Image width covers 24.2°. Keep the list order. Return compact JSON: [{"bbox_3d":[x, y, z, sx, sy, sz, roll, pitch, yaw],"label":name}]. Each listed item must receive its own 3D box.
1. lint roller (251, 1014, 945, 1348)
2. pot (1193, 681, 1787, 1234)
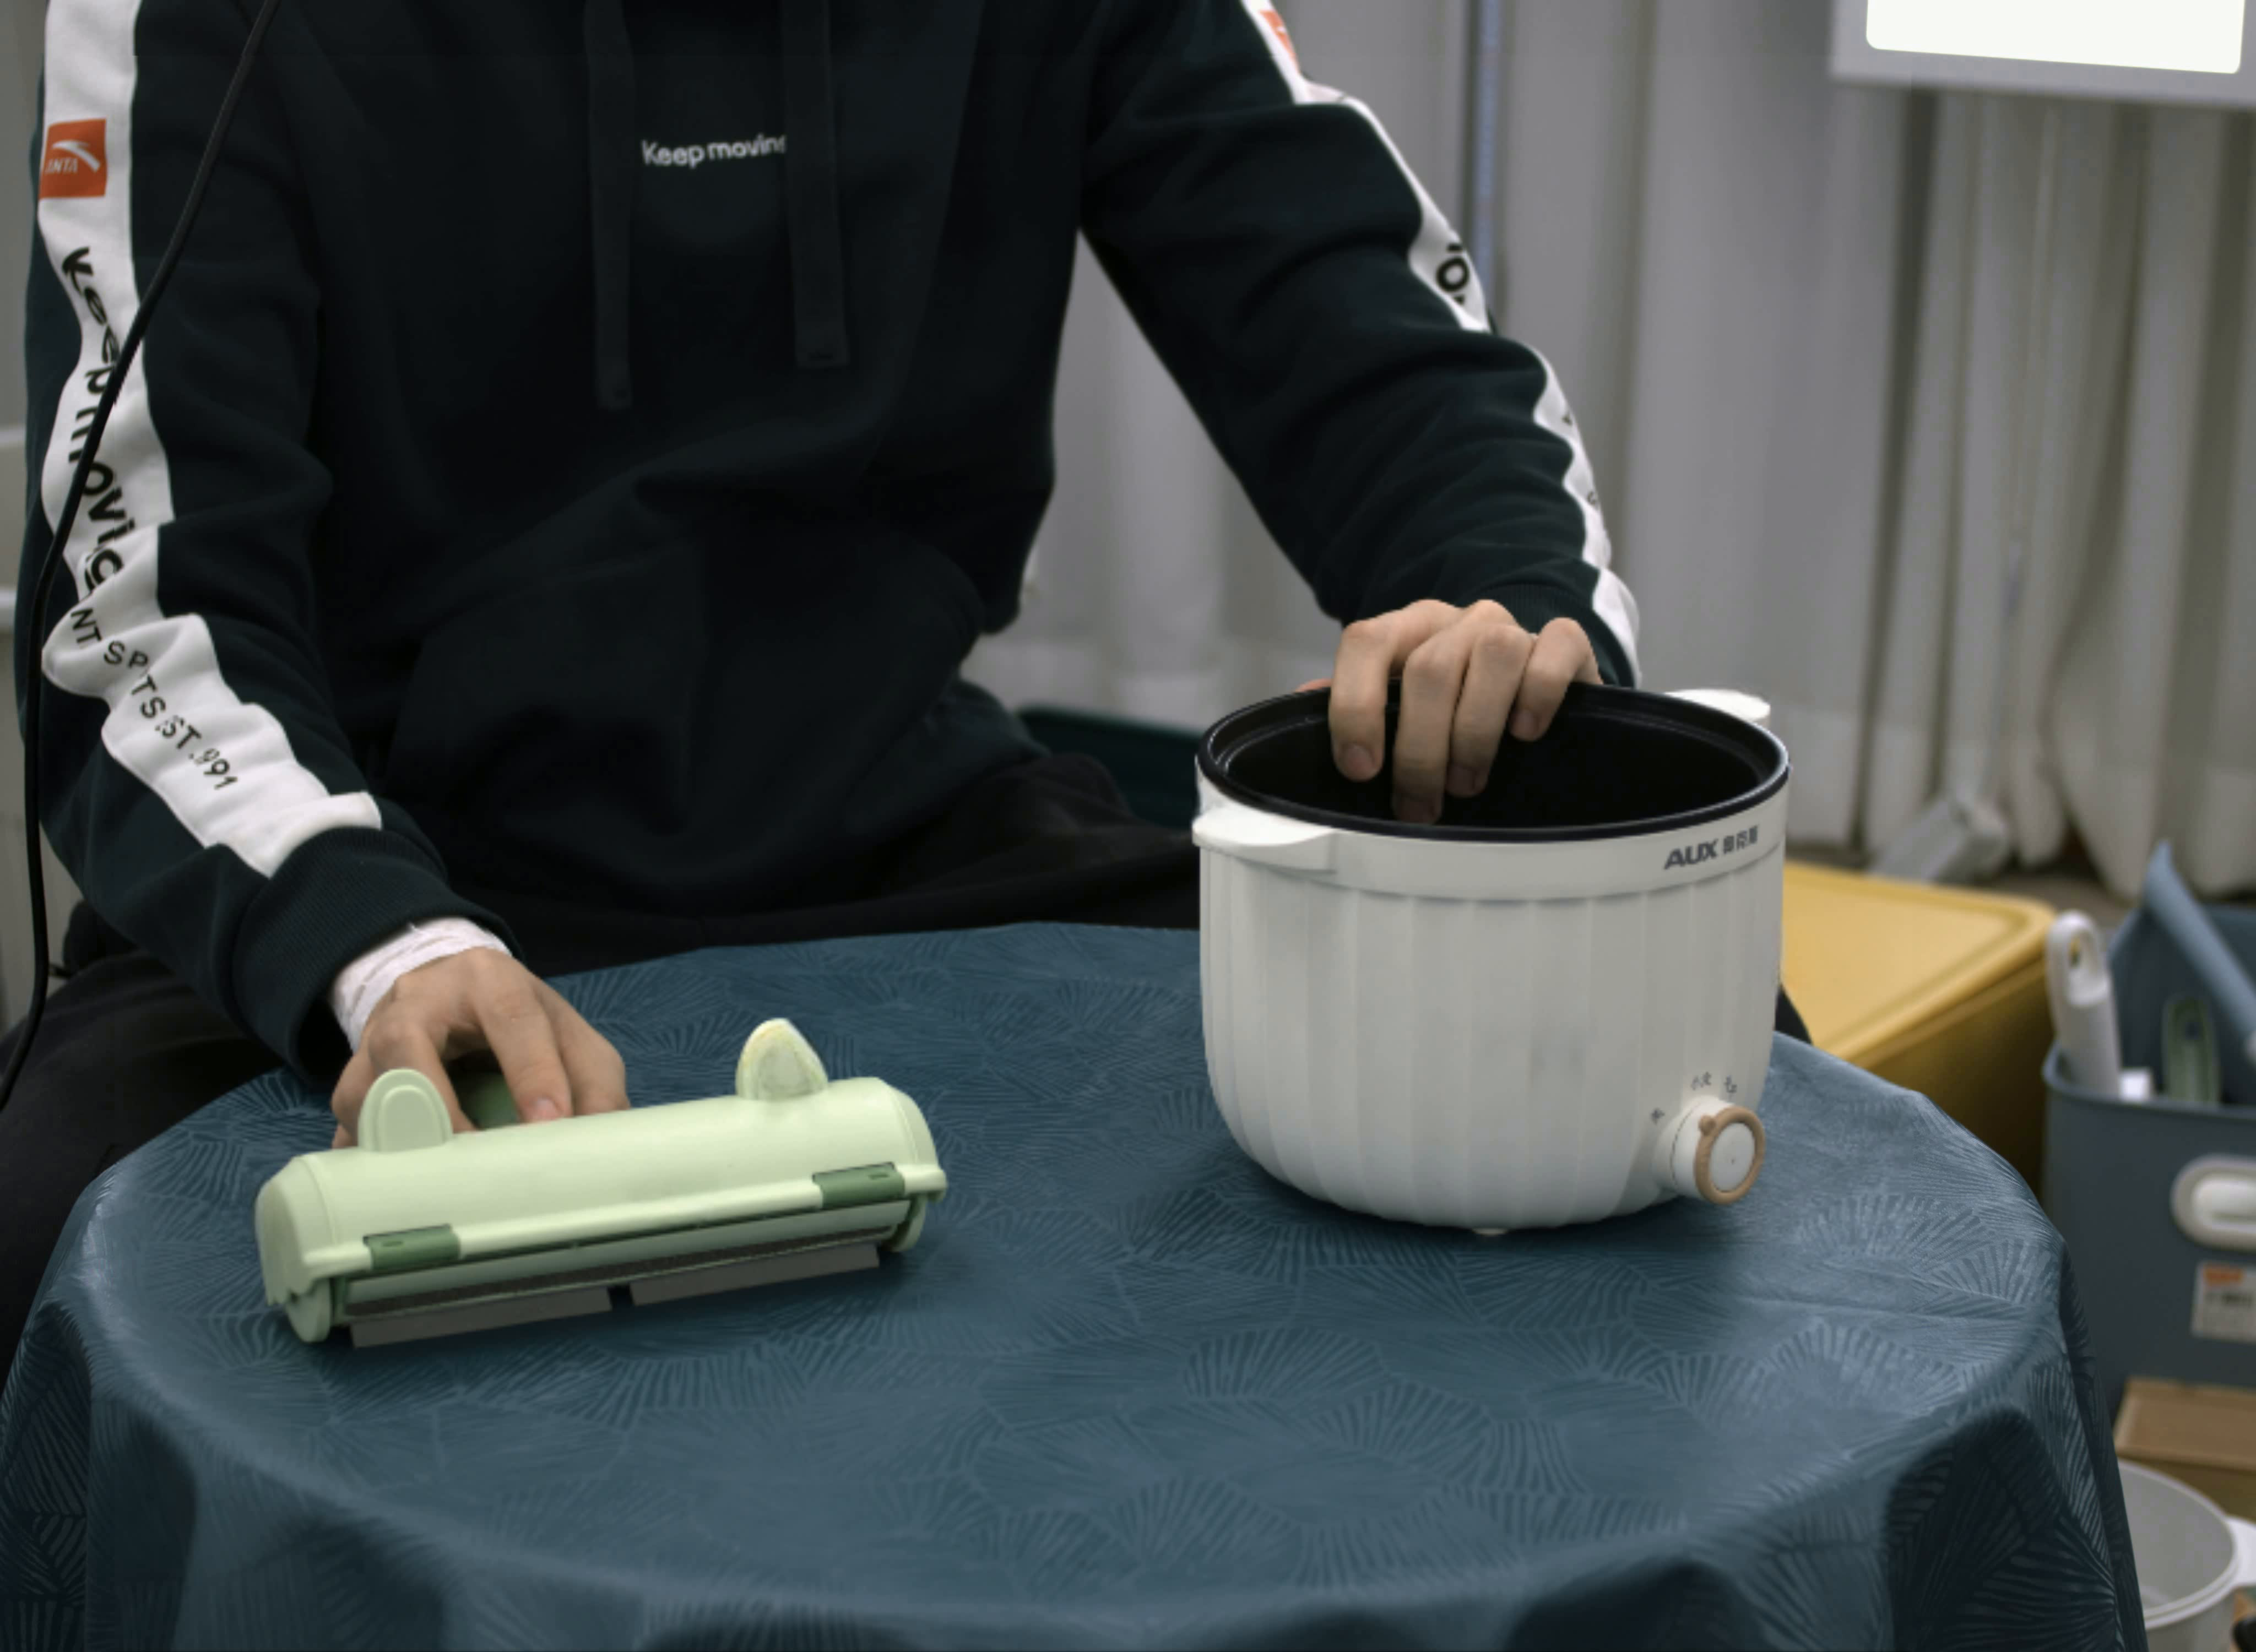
[{"bbox_3d":[-0.176,0.085,1.568,0.199,0.083,0.181,-7,23,-24],"label":"lint roller"},{"bbox_3d":[0.115,0.041,1.620,0.241,0.144,0.188,-16,19,-42],"label":"pot"}]
